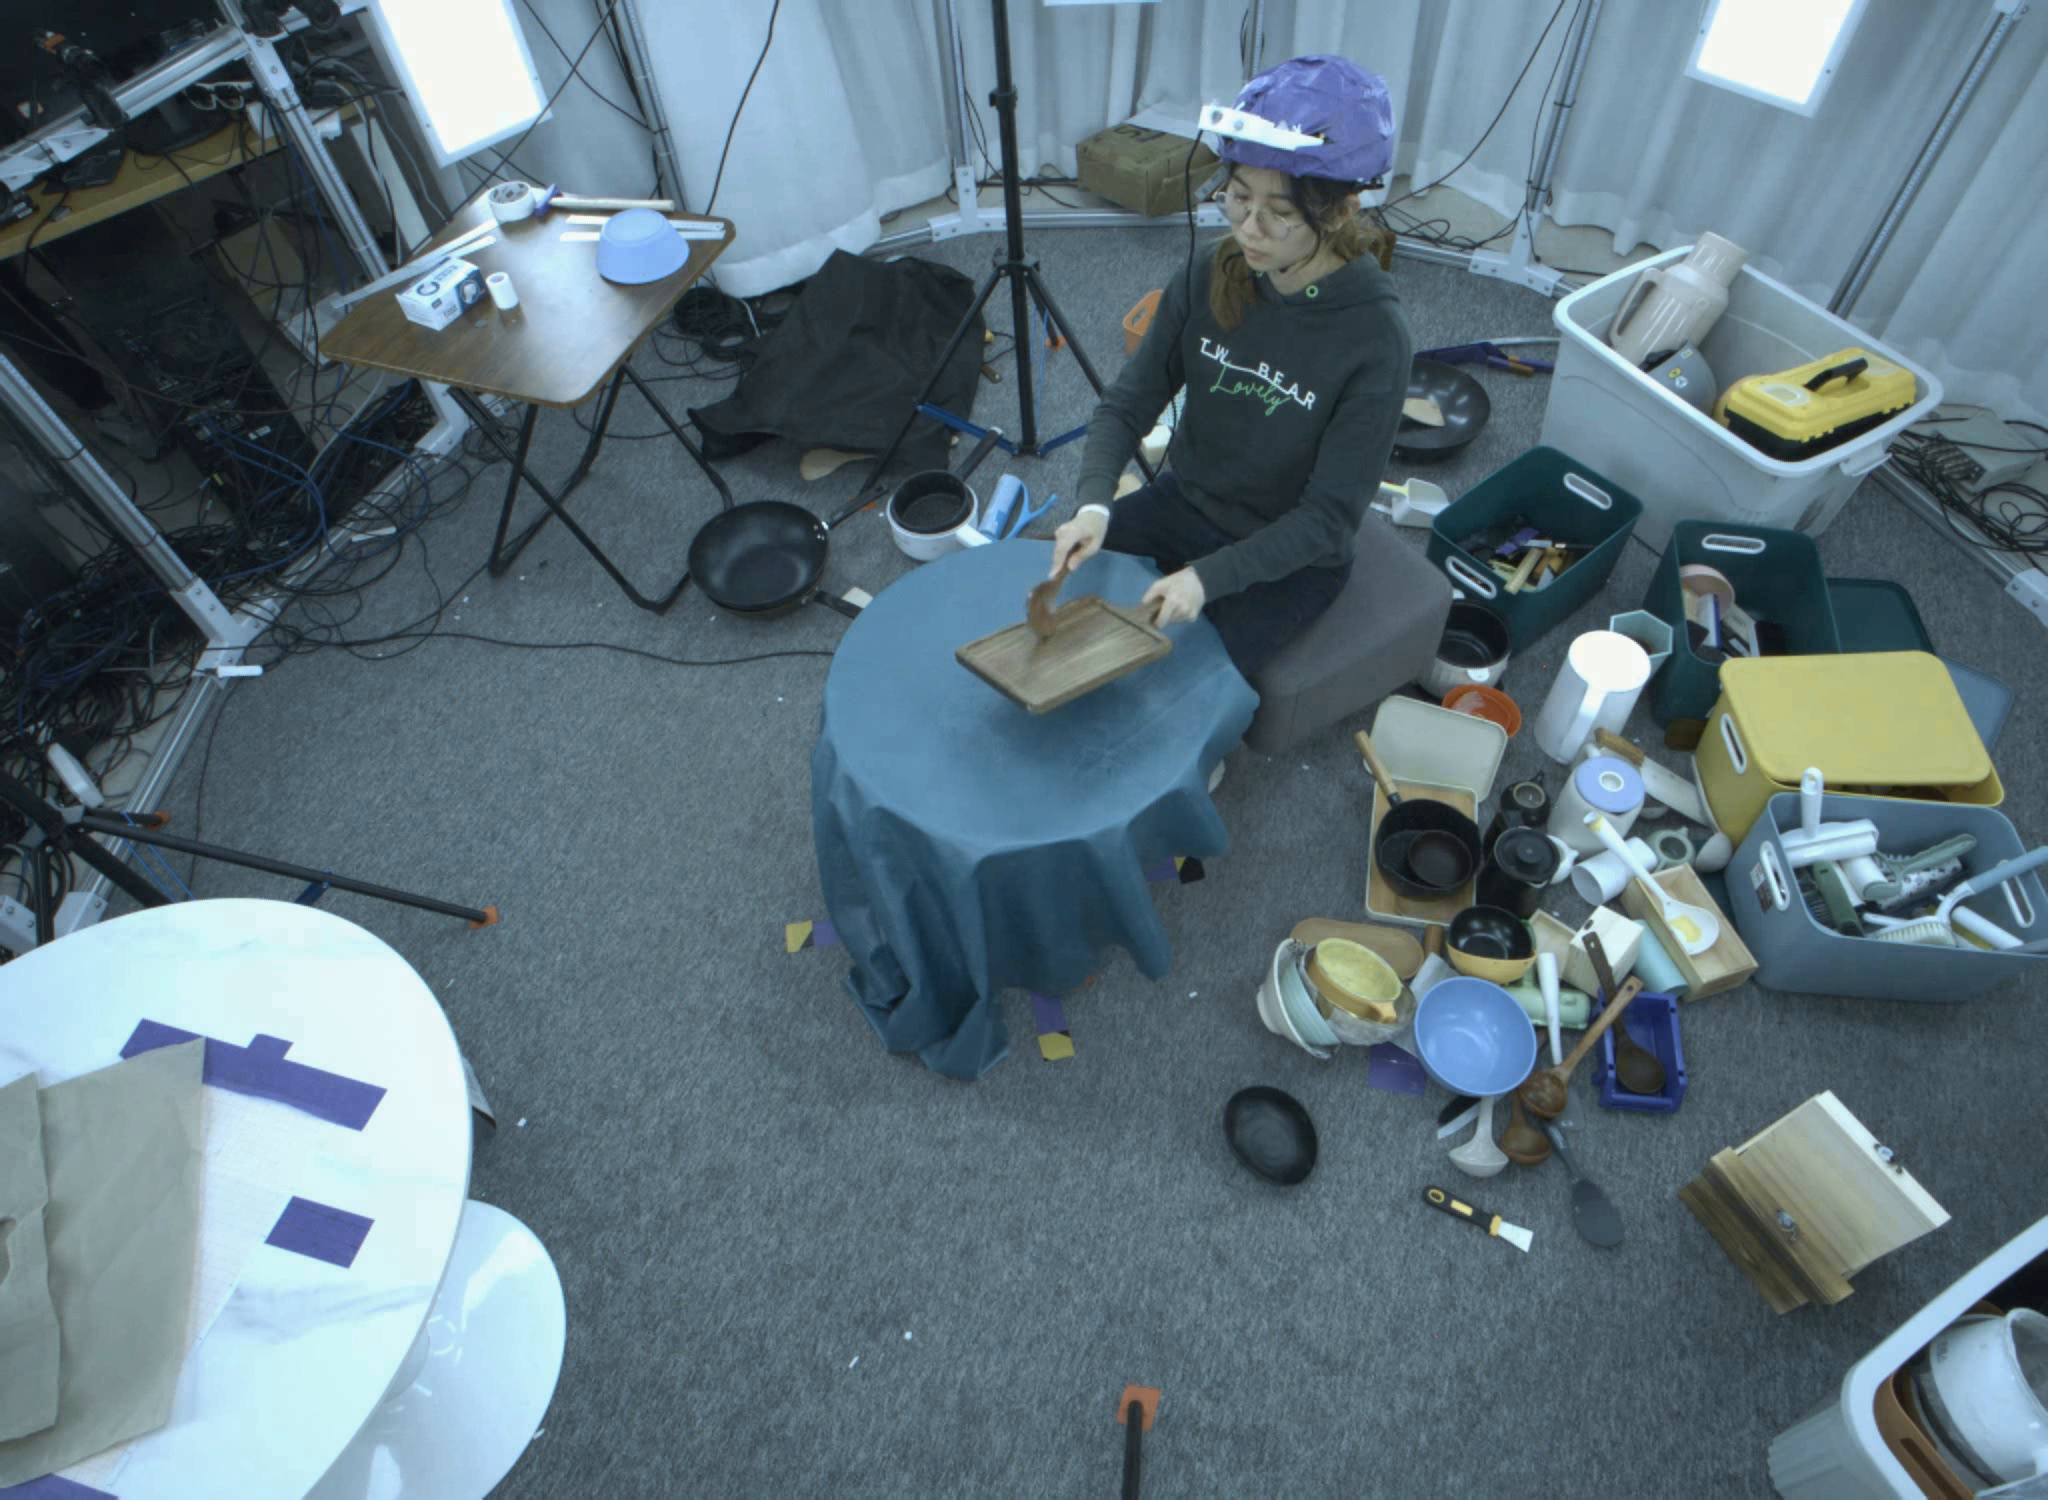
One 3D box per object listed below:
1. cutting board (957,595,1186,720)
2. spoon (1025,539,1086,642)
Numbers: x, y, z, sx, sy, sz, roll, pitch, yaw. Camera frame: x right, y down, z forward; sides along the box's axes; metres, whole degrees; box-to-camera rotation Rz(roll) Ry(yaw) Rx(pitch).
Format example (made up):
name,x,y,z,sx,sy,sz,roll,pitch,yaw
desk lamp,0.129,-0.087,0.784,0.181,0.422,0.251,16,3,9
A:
name,x,y,z,sx,sy,sz,roll,pitch,yaw
cutting board,0.099,-0.154,1.777,0.356,0.023,0.196,-26,41,-28
spoon,0.048,-0.241,1.808,0.017,0.077,0.216,-7,42,37
